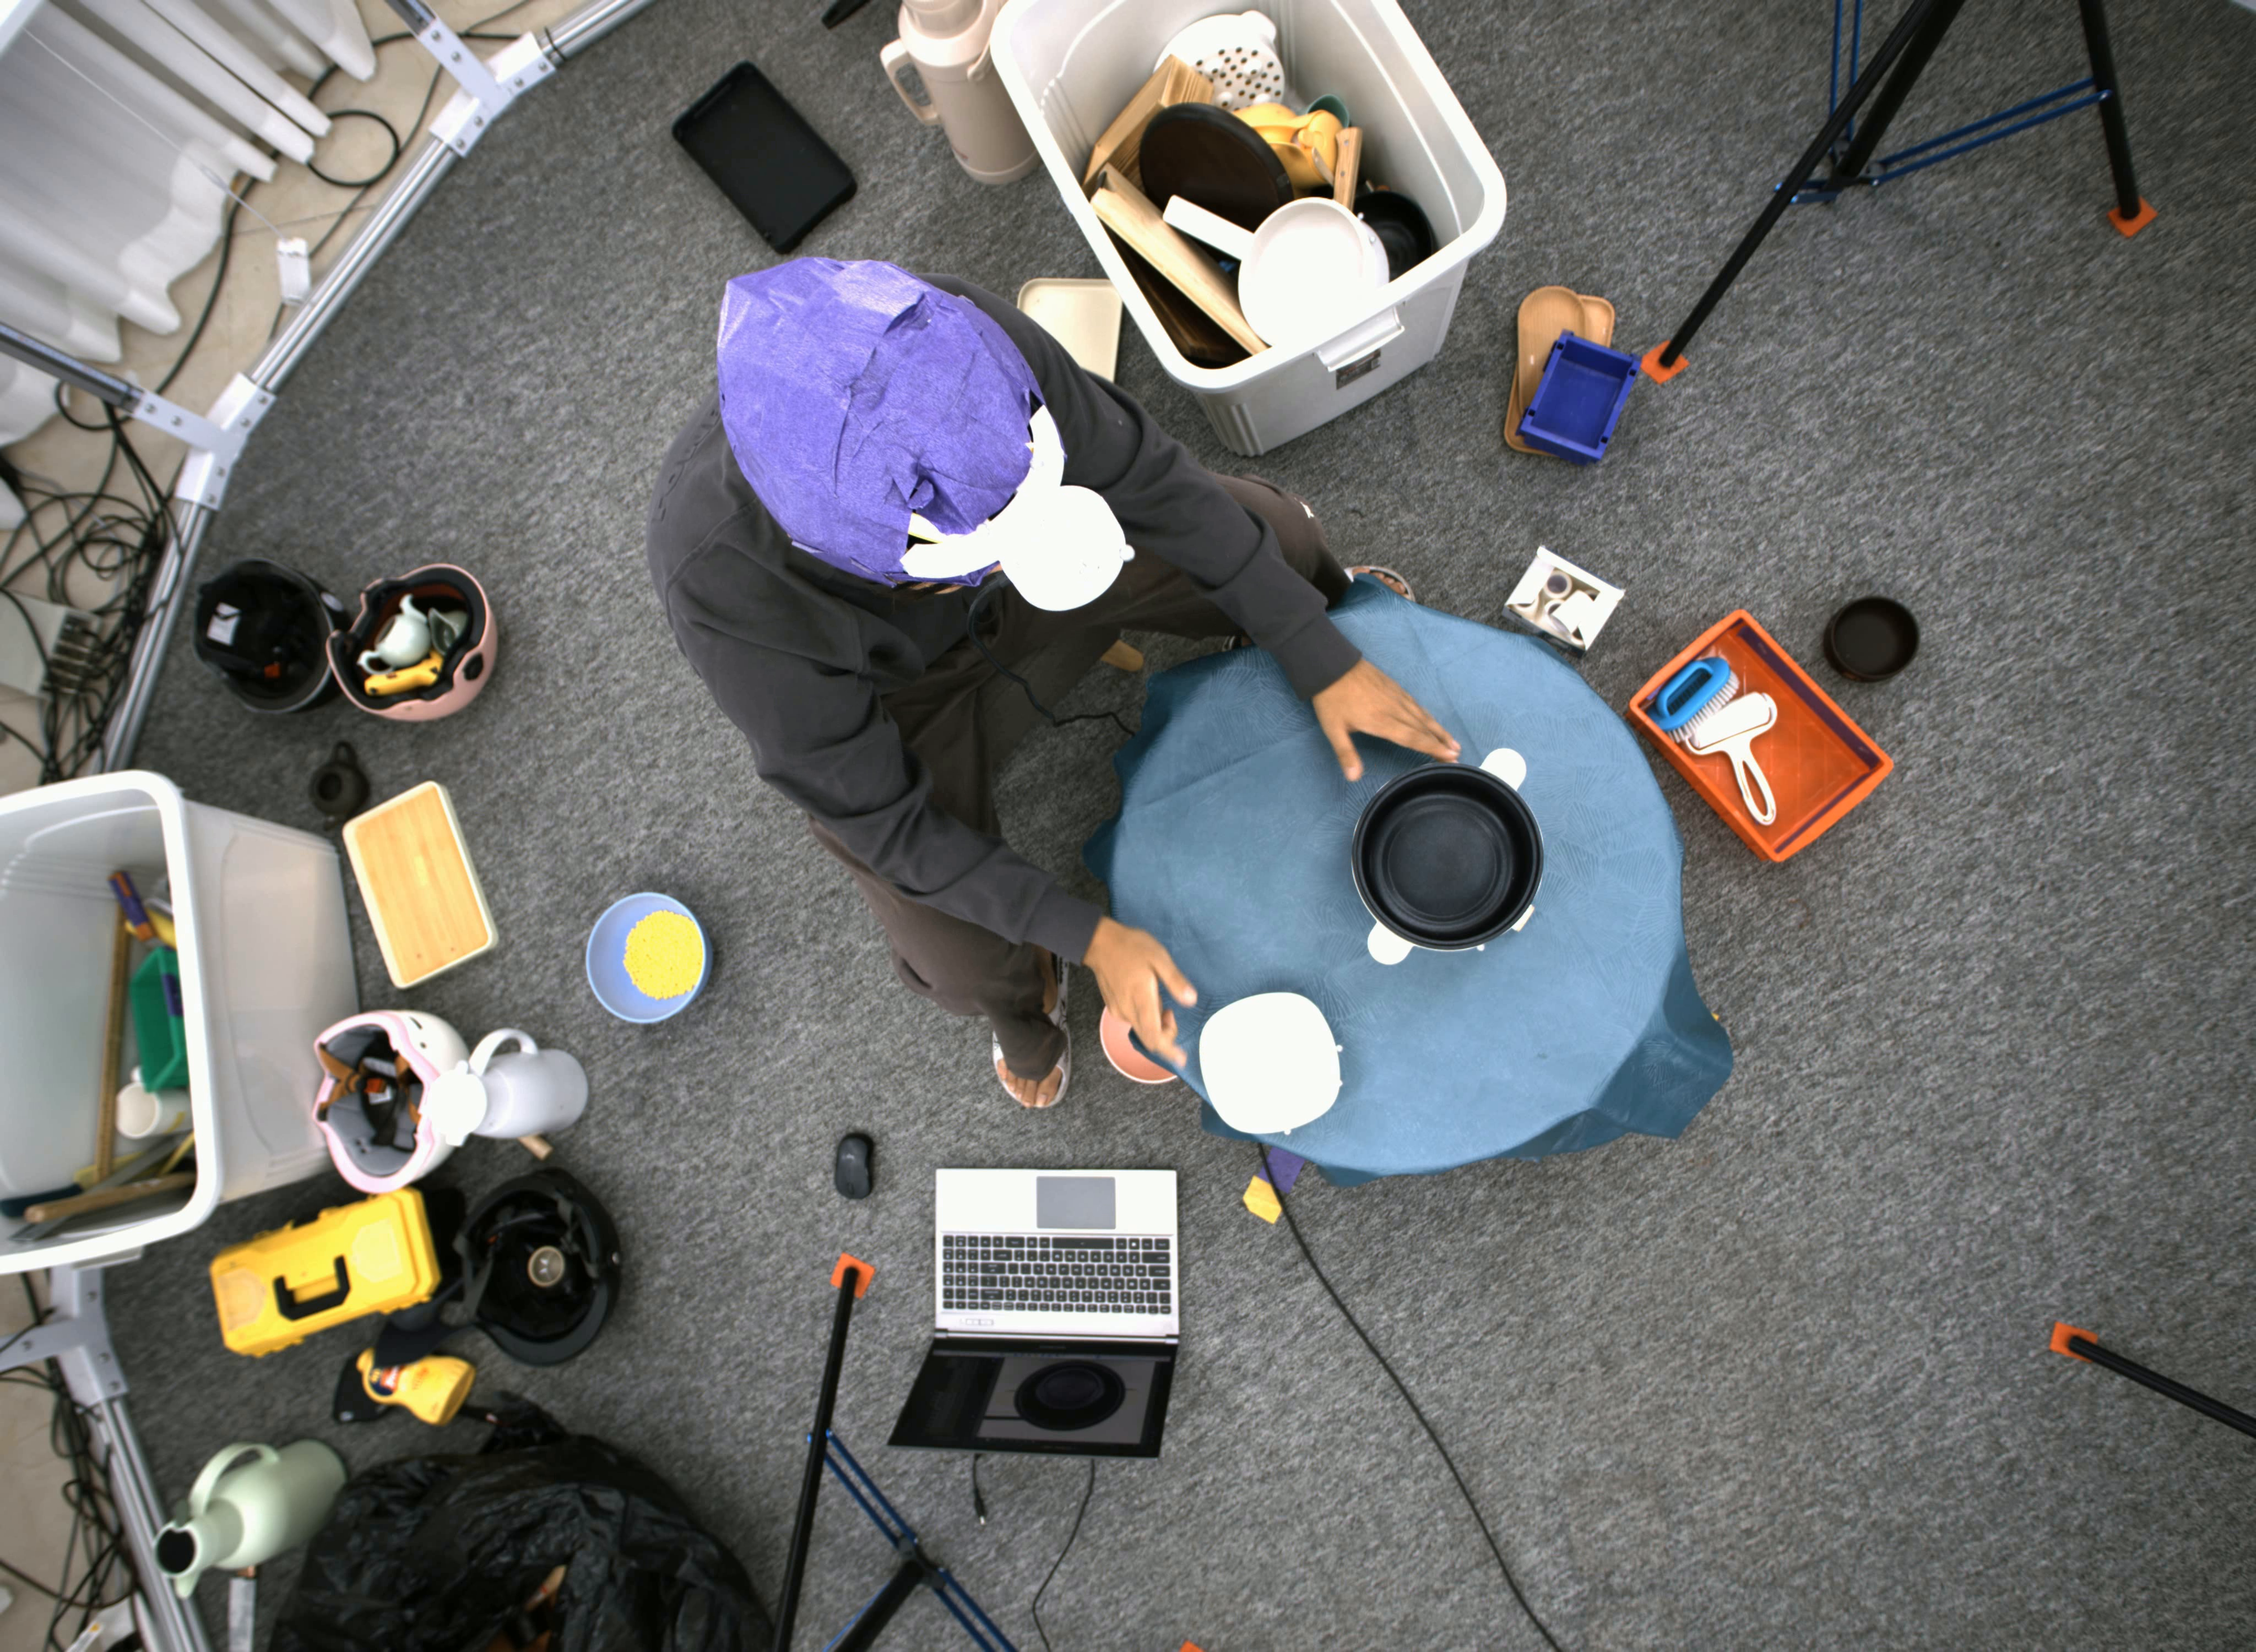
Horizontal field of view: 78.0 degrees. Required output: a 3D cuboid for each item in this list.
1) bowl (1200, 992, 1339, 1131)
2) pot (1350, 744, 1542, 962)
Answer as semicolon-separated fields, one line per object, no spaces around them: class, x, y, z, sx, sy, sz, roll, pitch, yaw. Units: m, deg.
bowl;0.148;0.243;1.446;0.152;0.059;0.150;-1;86;9
pot;0.321;0.033;1.382;0.190;0.142;0.241;32;94;14
